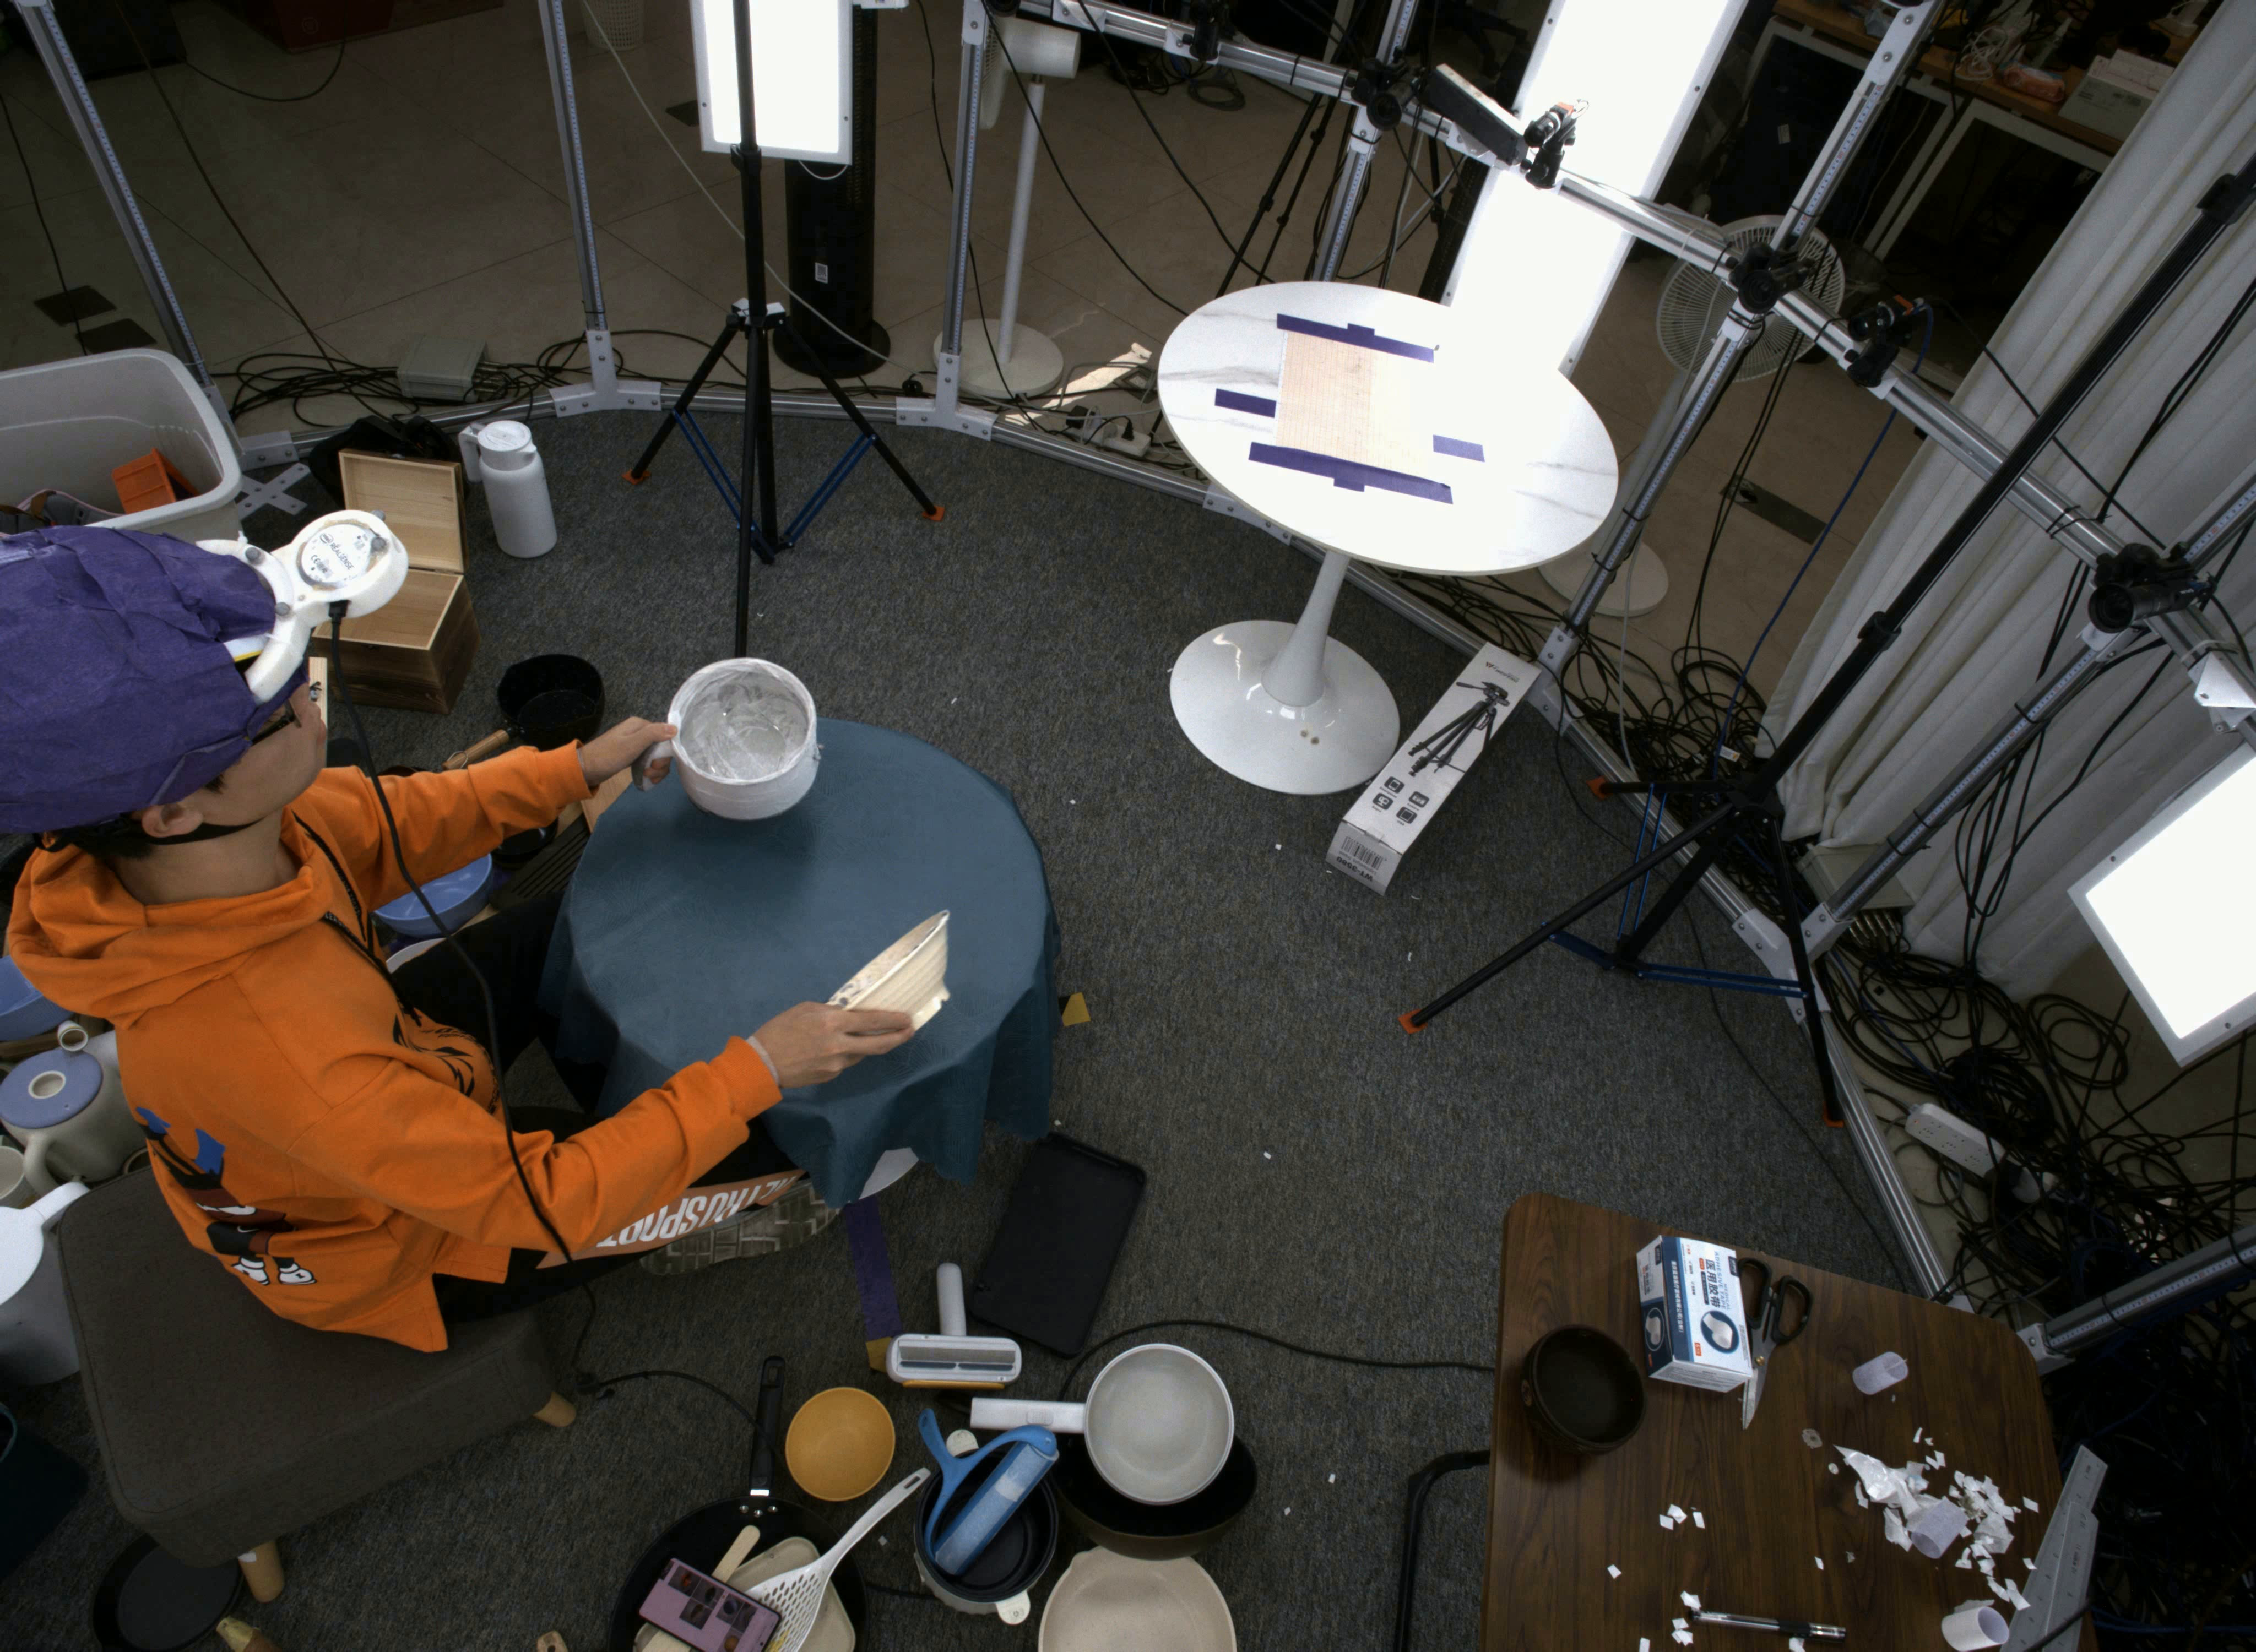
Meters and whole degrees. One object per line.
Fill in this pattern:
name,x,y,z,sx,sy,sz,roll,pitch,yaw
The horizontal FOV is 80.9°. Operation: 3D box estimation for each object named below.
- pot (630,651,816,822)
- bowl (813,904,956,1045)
pot,-0.504,-0.100,1.596,0.234,0.138,0.176,-13,68,-18
bowl,-0.249,0.182,1.442,0.079,0.201,0.203,47,52,-8
